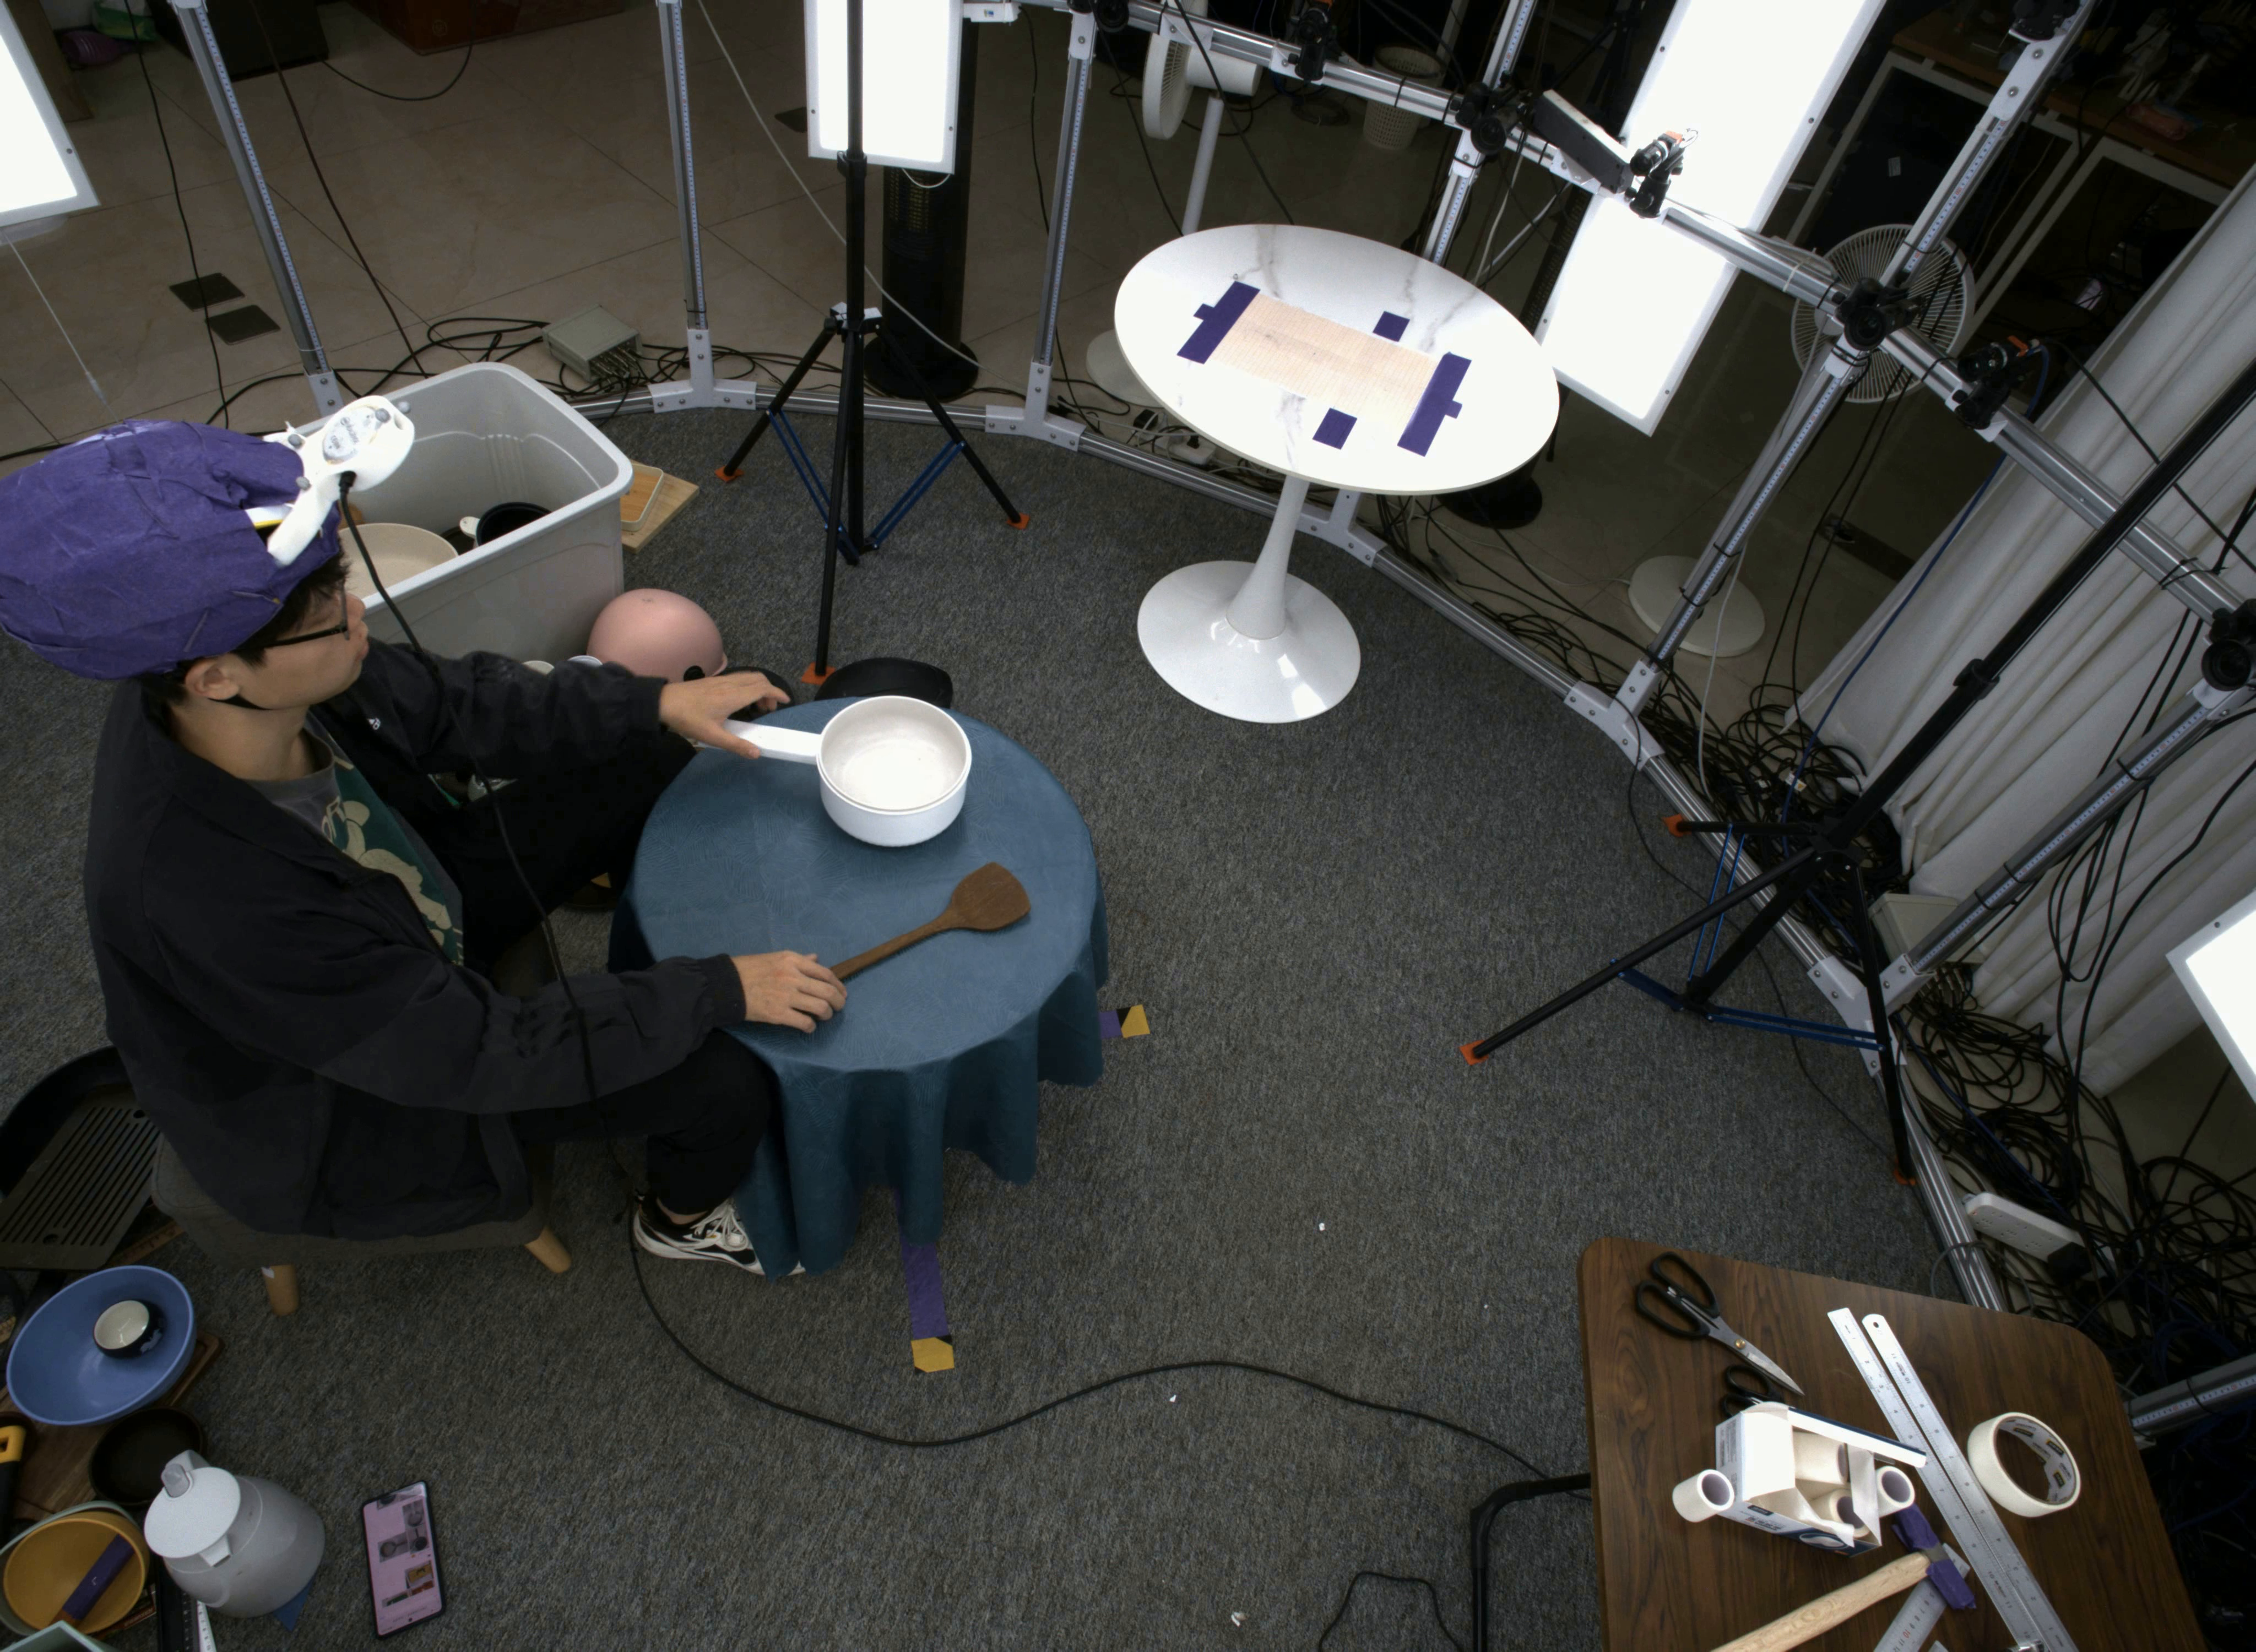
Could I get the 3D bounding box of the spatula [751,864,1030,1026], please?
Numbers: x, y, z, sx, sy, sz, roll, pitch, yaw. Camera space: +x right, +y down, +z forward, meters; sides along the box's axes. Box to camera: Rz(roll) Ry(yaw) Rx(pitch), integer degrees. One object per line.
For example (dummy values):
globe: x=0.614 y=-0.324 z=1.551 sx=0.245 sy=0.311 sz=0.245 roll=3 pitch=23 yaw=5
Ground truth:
spatula: x=-0.297 y=0.153 z=1.634 sx=0.387 sy=0.016 sz=0.093 roll=-27 pitch=63 yaw=-29

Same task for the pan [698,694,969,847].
pan: x=-0.390 y=-0.080 z=1.730 sx=0.353 sy=0.104 sz=0.198 roll=8 pitch=53 yaw=-6
